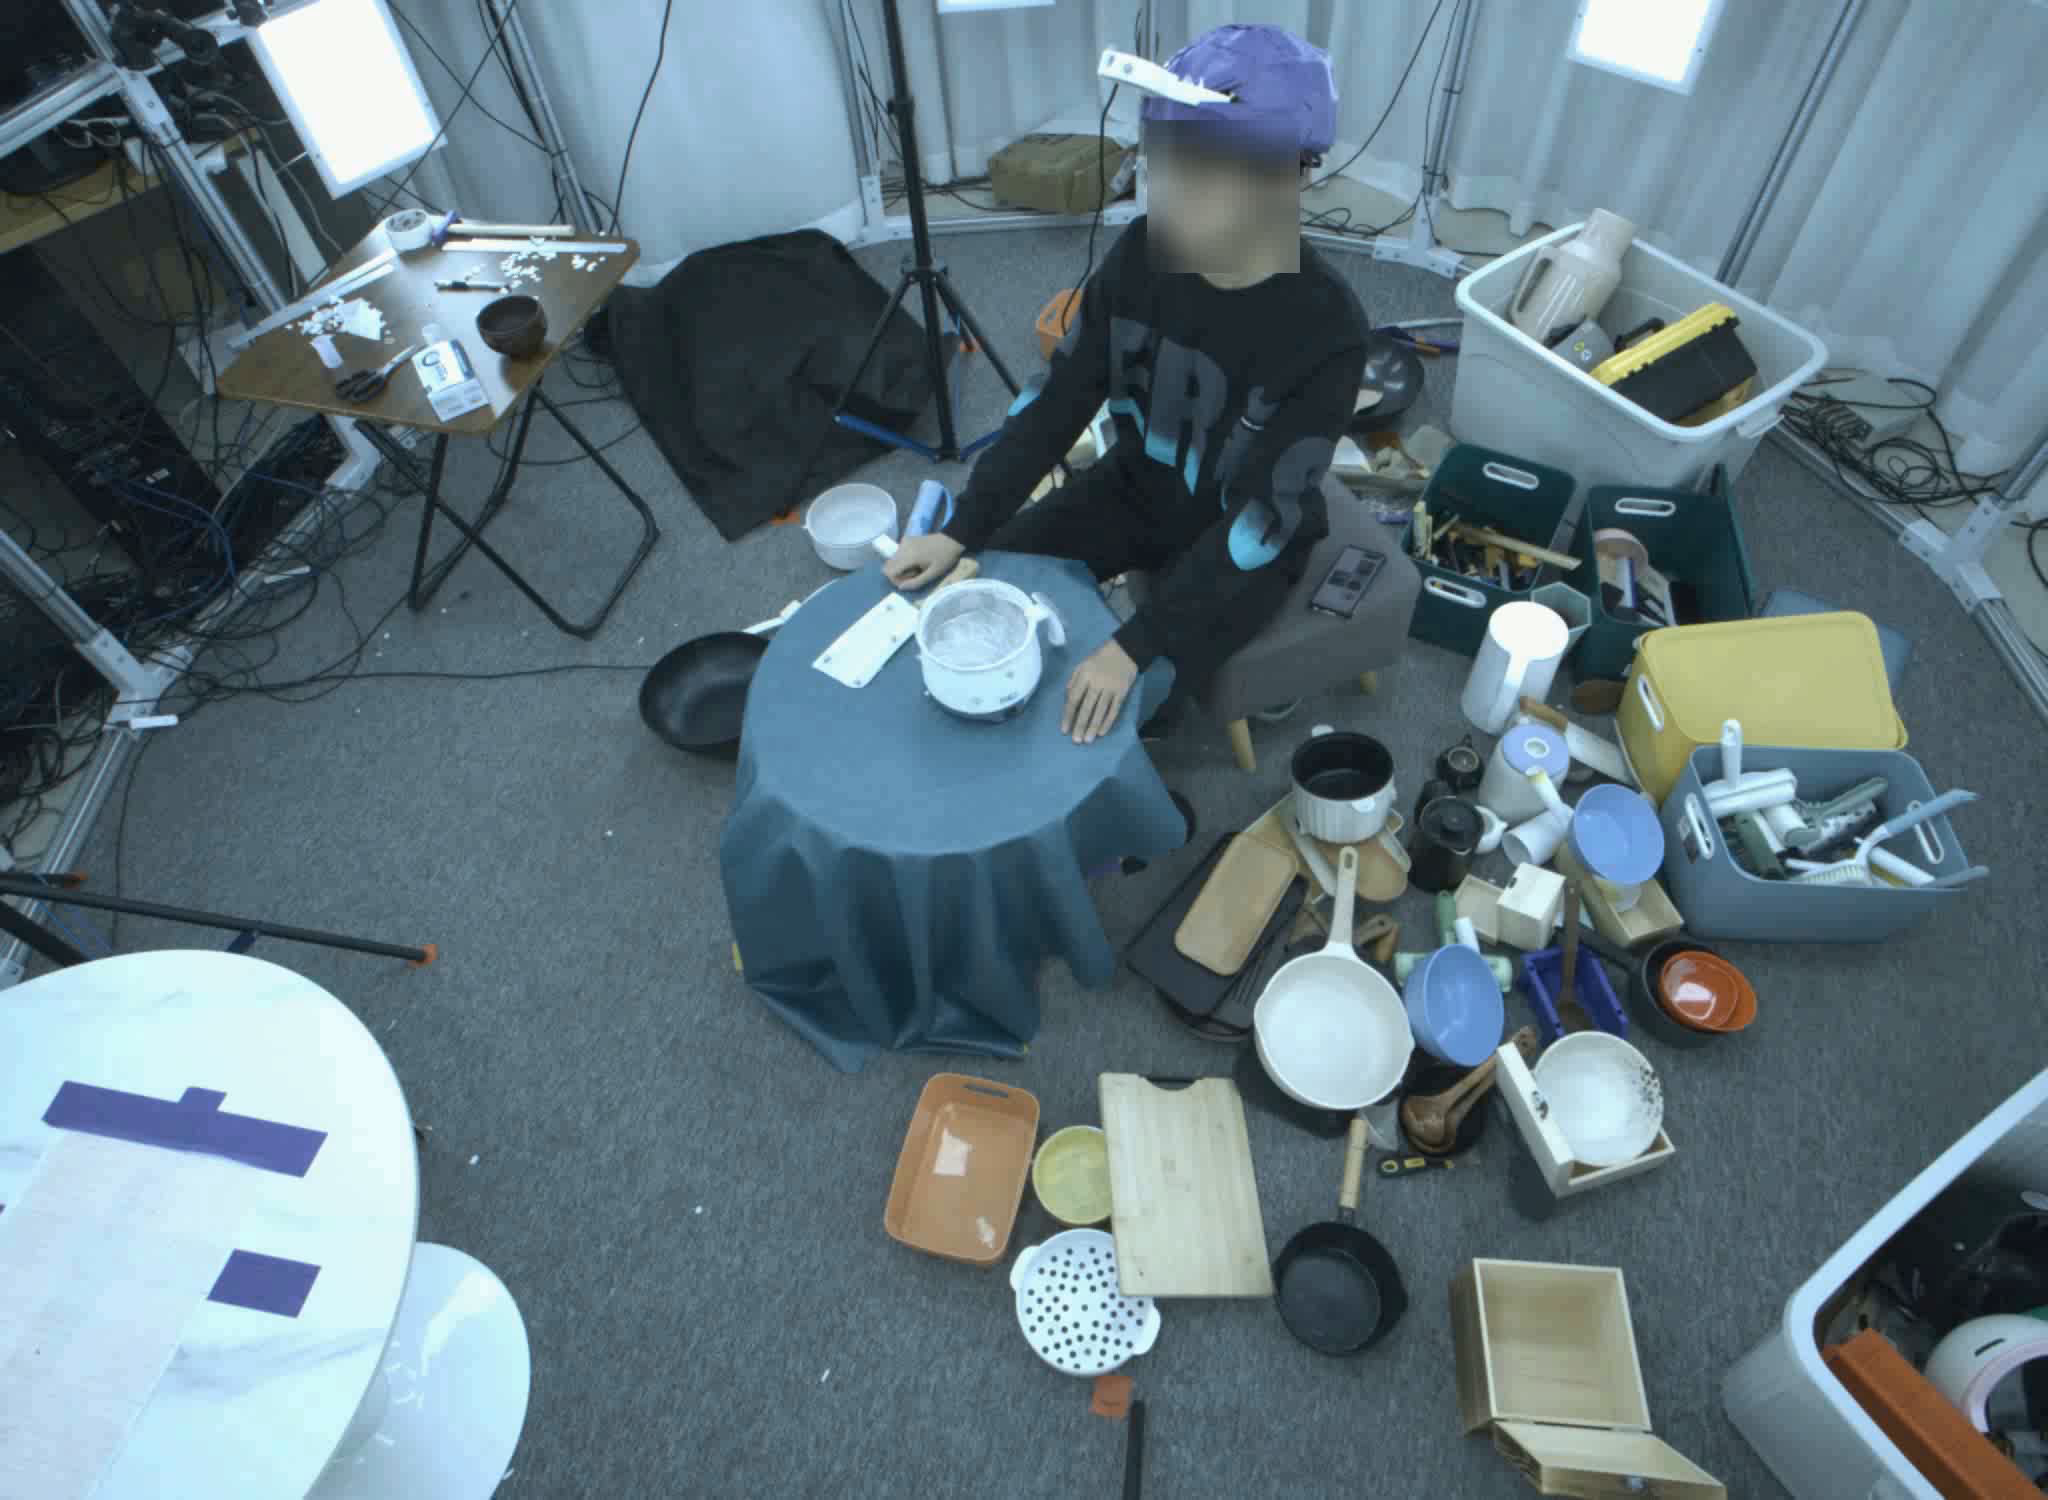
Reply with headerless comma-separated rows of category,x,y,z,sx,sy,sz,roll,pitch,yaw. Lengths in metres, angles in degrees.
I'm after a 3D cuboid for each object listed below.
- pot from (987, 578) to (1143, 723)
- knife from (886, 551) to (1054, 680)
pot,0.066,-0.155,1.810,0.235,0.138,0.175,-24,57,-13
knife,-0.075,-0.217,1.932,0.317,0.022,0.112,-39,62,-20
